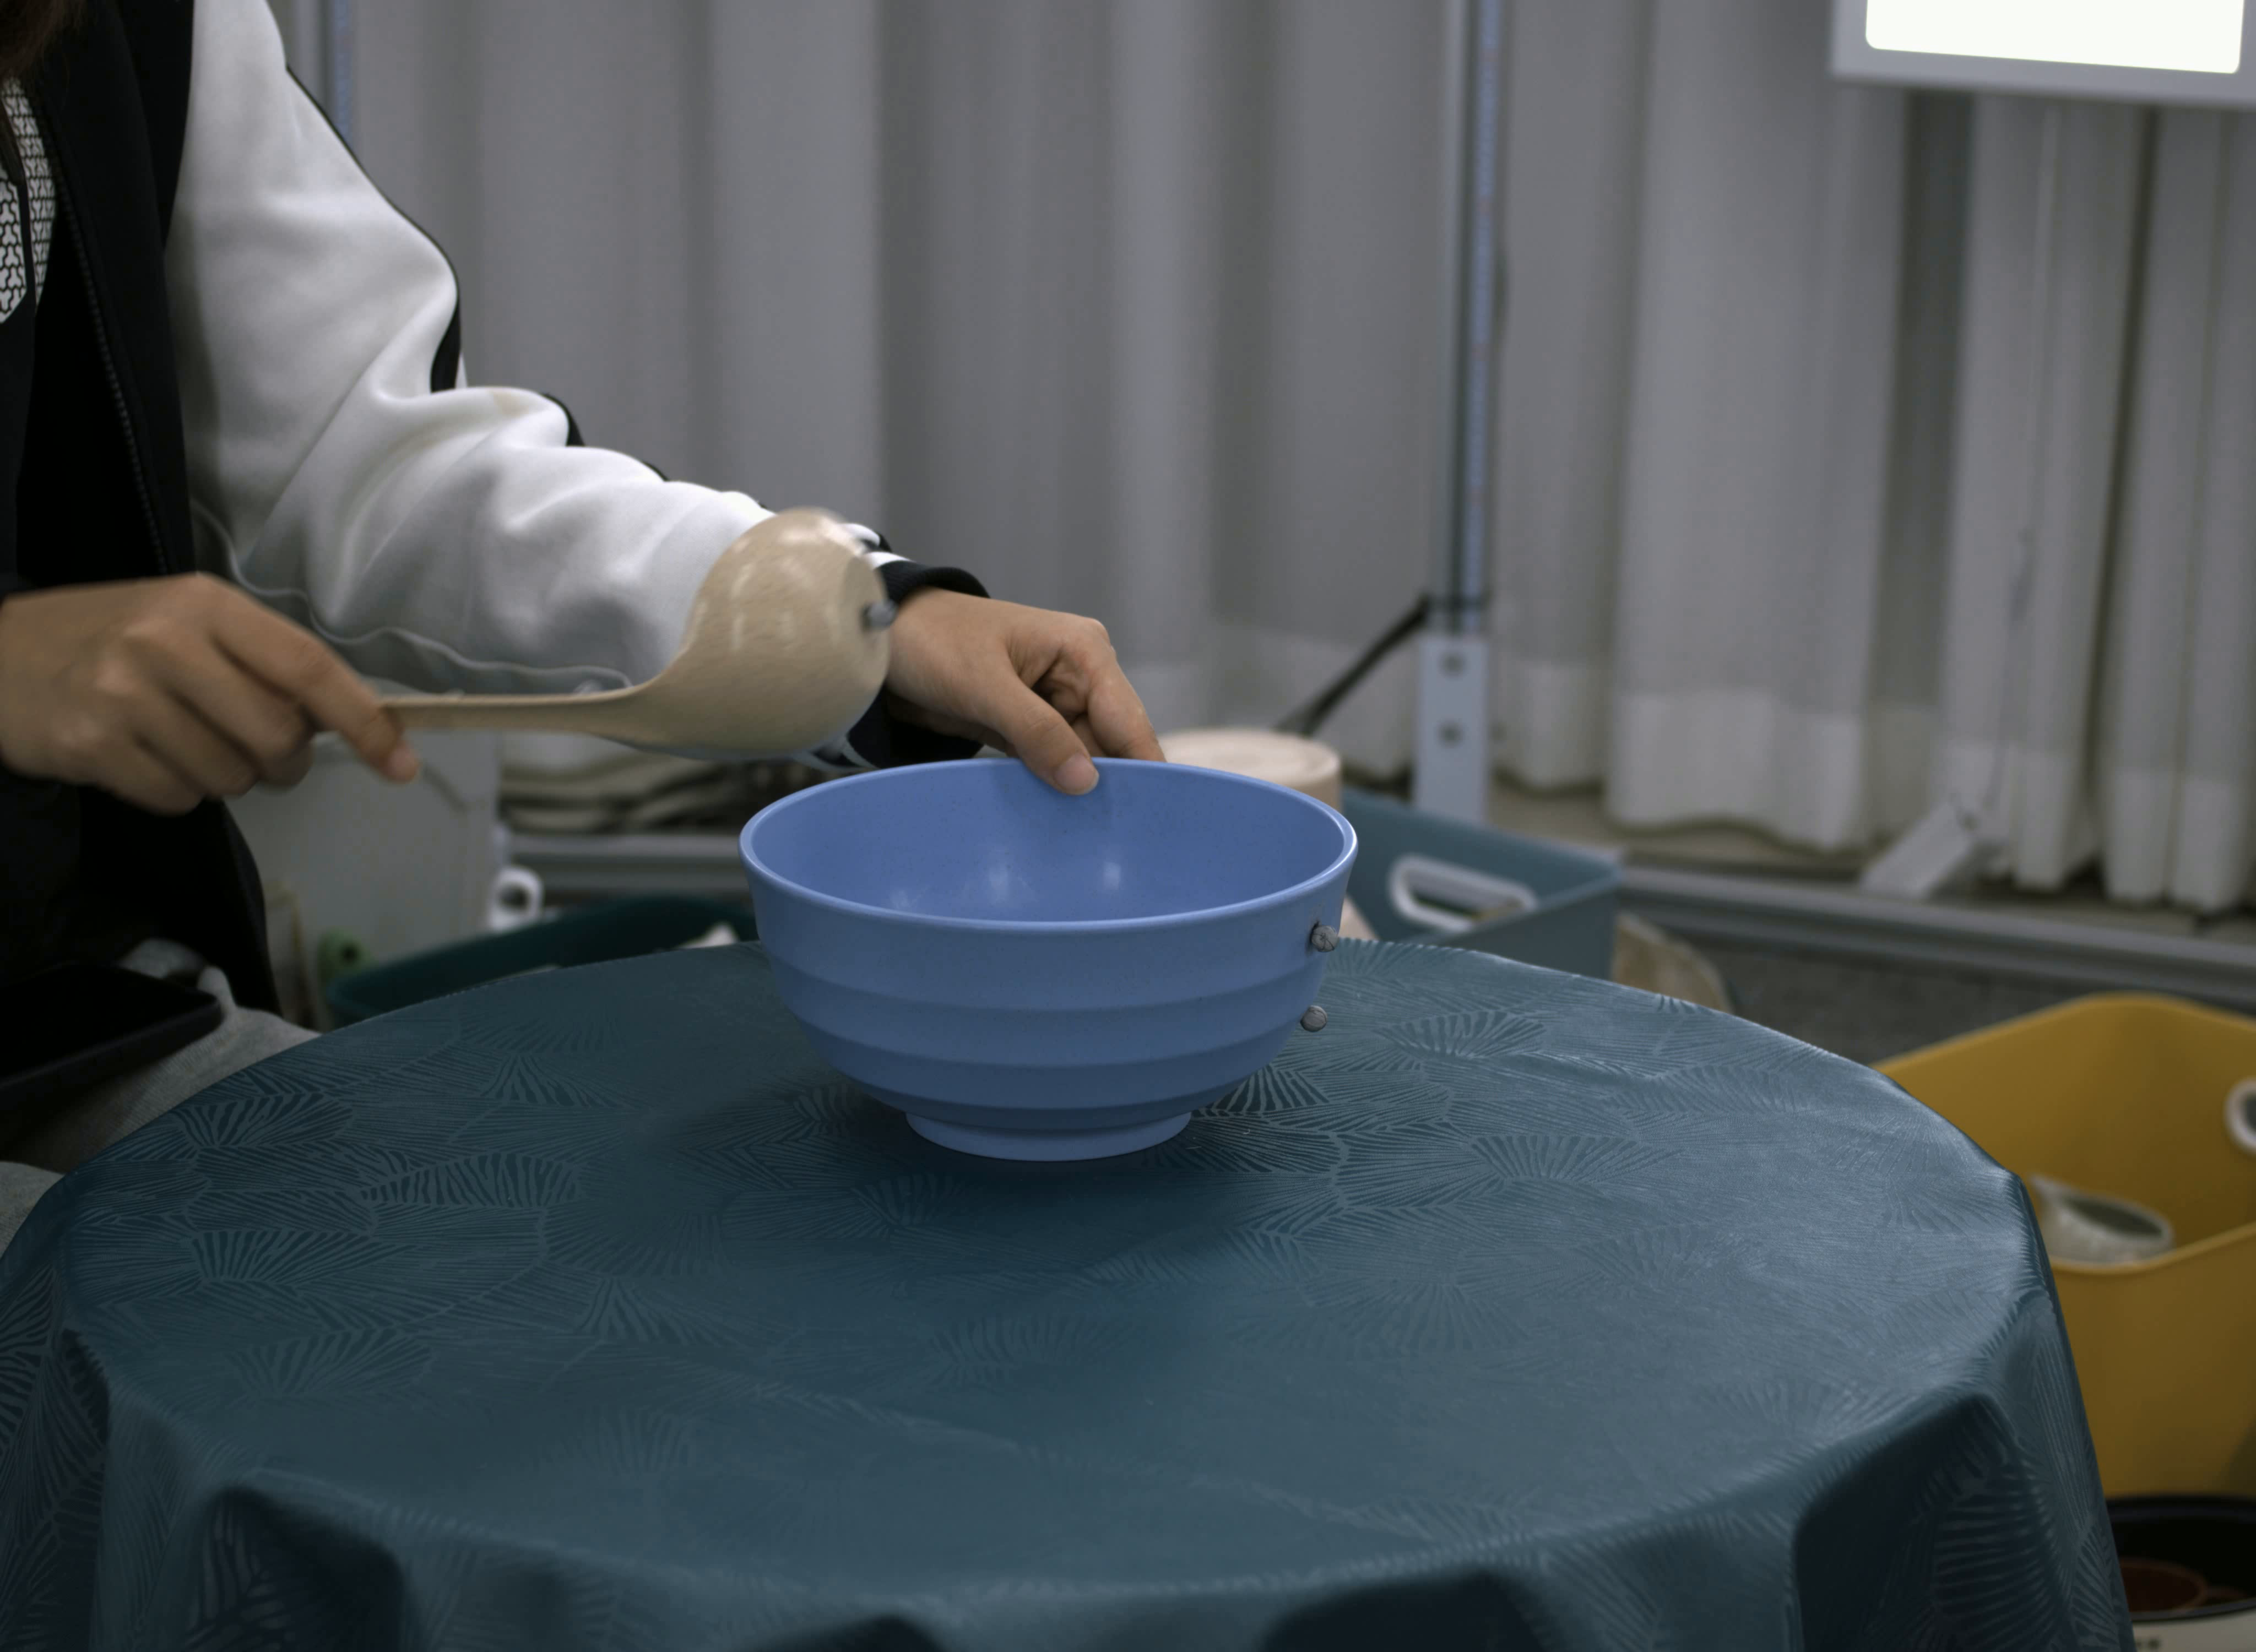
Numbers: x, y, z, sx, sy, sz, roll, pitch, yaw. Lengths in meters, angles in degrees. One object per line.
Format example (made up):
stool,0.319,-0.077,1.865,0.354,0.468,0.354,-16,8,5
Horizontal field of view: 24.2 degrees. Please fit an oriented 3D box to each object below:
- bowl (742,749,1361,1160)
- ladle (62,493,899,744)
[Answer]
bowl,-0.026,0.047,1.677,0.196,0.096,0.195,3,16,0
ladle,-0.190,-0.059,1.552,0.252,0.073,0.072,-1,48,19
